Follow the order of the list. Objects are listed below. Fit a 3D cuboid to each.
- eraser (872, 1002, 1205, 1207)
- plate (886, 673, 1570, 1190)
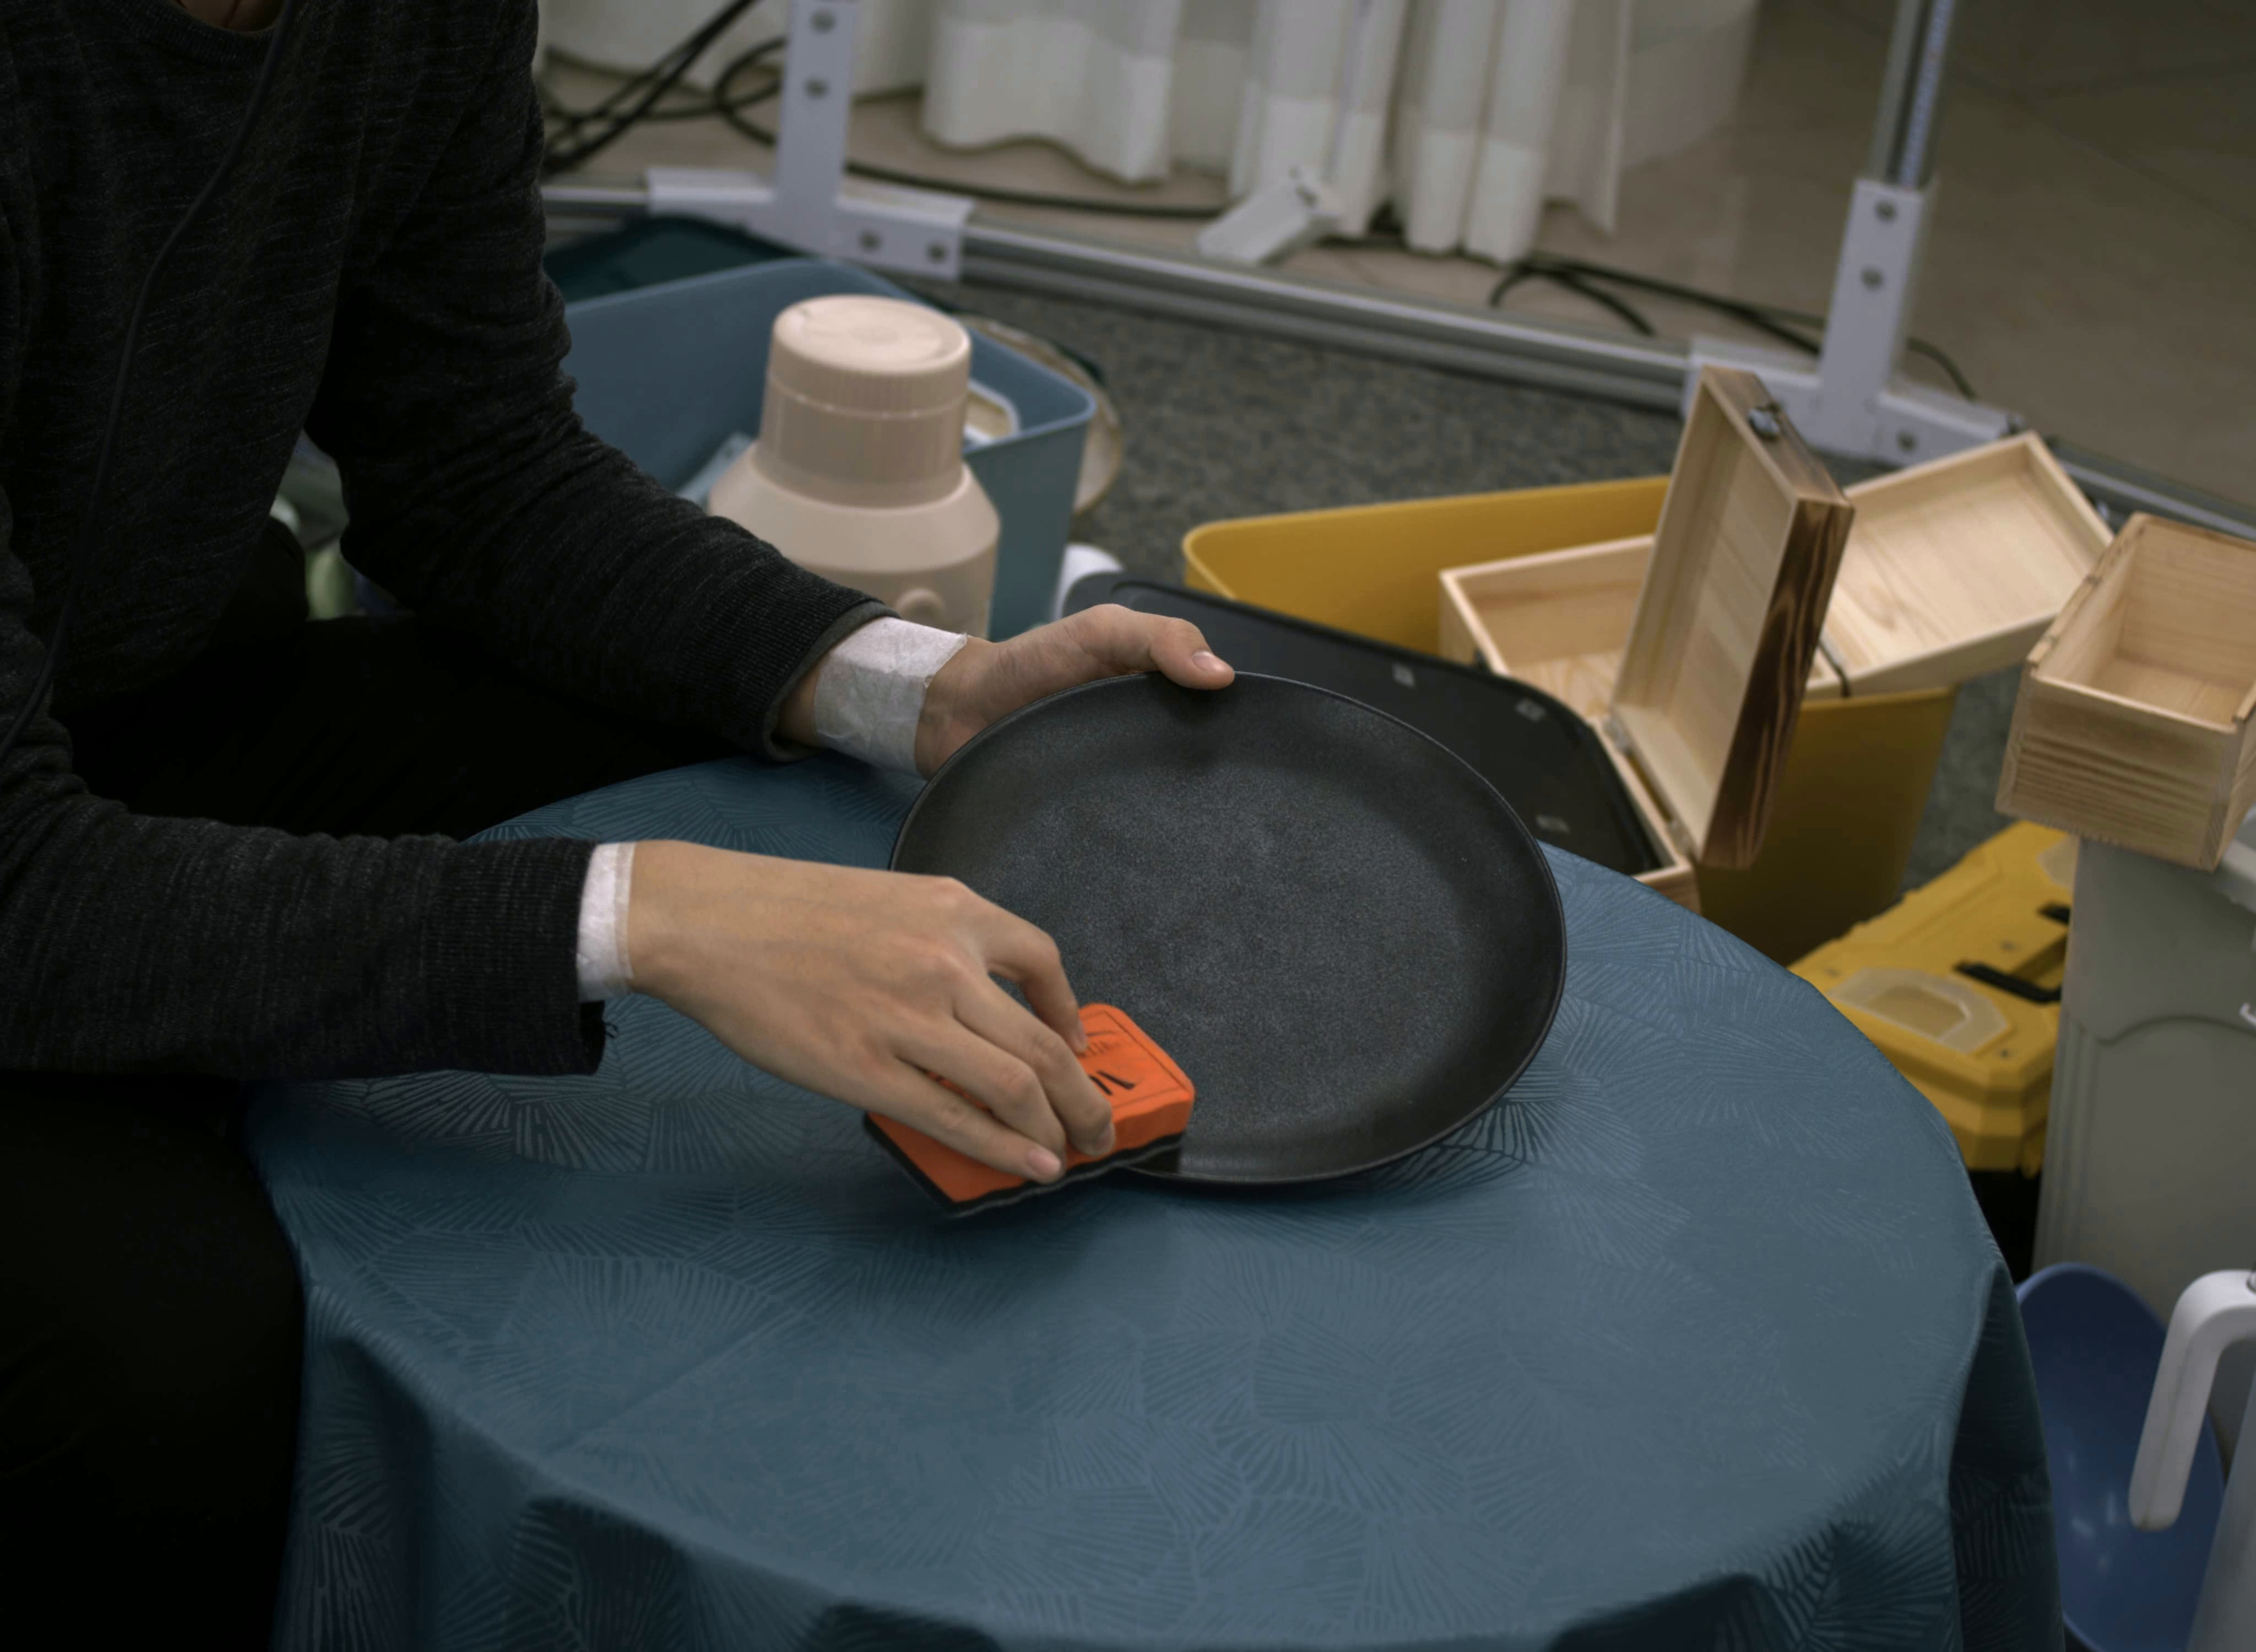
[{"bbox_3d":[-0.030,0.093,1.795,0.107,0.023,0.059,-17,36,-34],"label":"eraser"},{"bbox_3d":[0.035,0.038,1.887,0.243,0.023,0.246,2,46,-3],"label":"plate"}]
